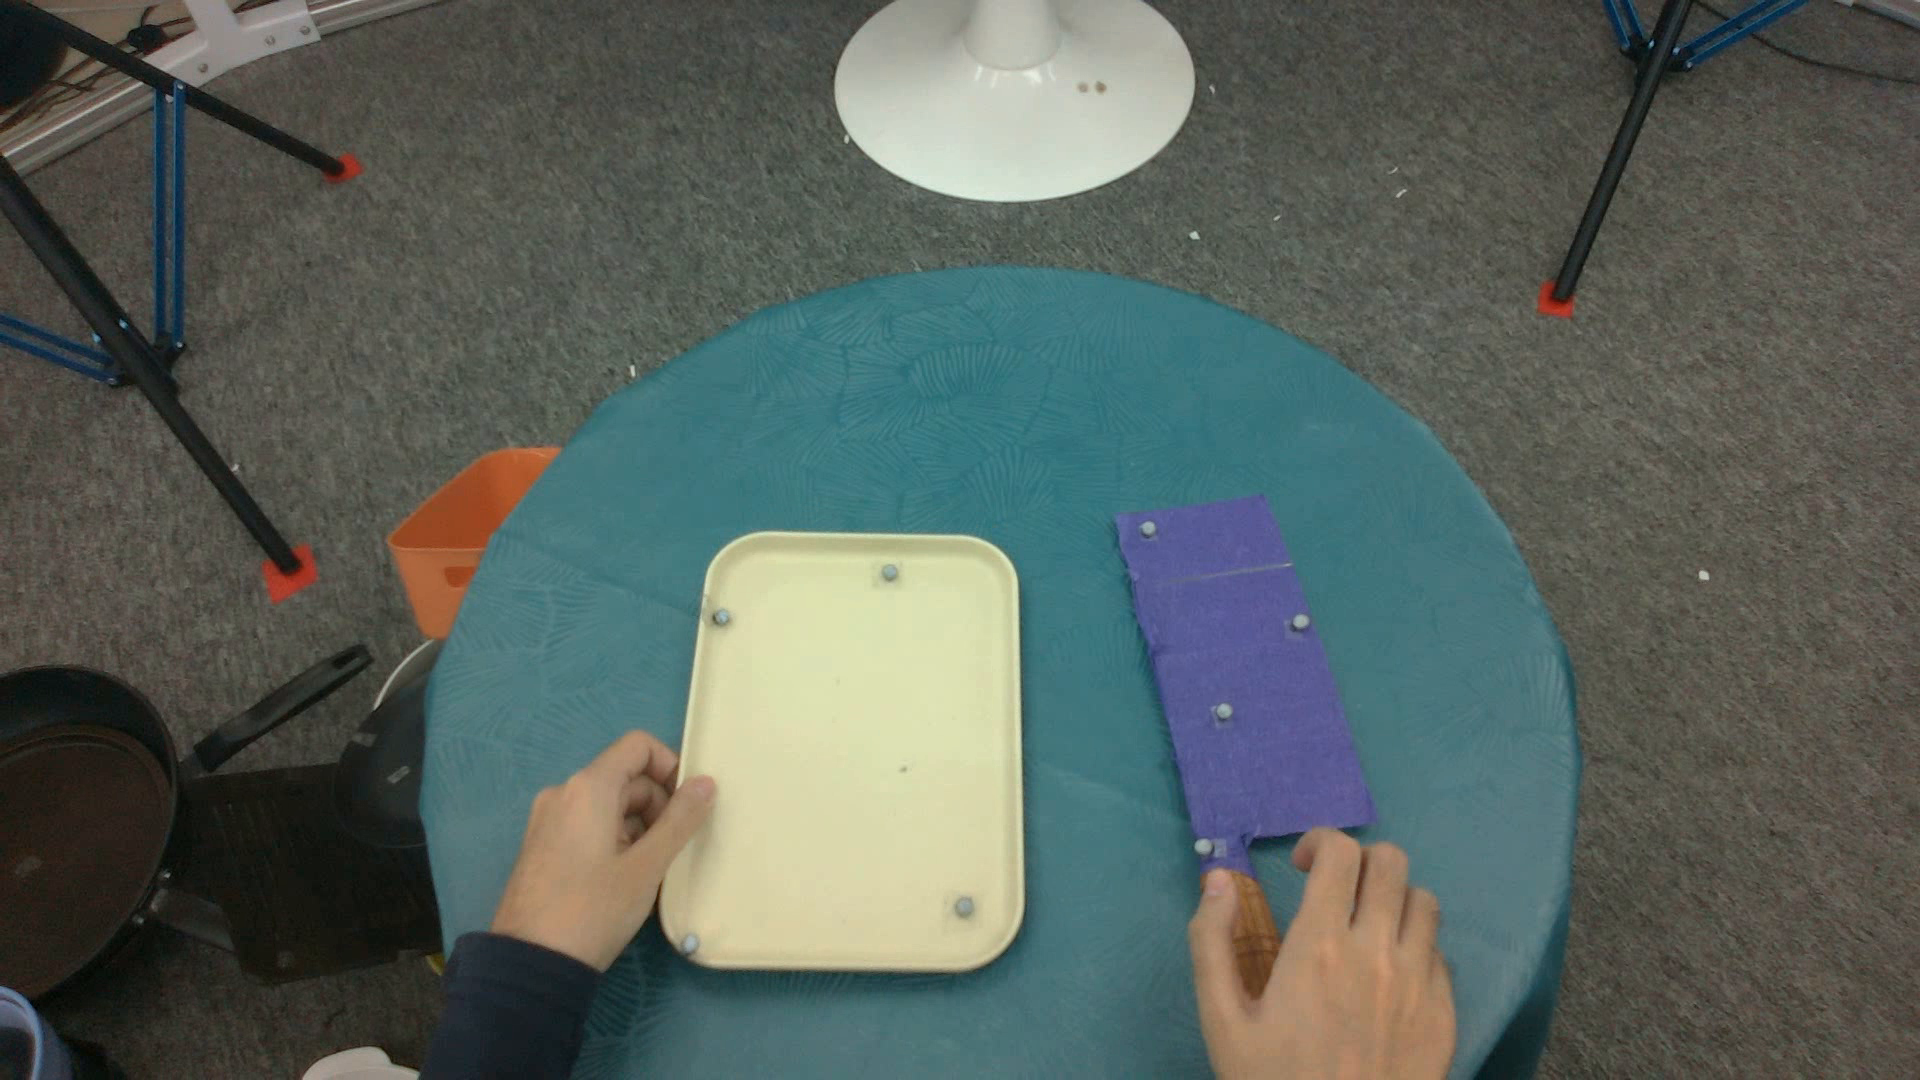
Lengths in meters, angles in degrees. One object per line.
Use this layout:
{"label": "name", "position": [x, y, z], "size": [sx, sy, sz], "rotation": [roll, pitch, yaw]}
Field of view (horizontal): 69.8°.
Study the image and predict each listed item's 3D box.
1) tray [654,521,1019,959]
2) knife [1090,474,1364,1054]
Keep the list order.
{"label": "tray", "position": [-0.057, 0.093, 0.696], "size": [0.171, 0.017, 0.241], "rotation": [3, 55, -3]}
{"label": "knife", "position": [0.146, 0.090, 0.693], "size": [0.104, 0.032, 0.316], "rotation": [-8, 55, -3]}
